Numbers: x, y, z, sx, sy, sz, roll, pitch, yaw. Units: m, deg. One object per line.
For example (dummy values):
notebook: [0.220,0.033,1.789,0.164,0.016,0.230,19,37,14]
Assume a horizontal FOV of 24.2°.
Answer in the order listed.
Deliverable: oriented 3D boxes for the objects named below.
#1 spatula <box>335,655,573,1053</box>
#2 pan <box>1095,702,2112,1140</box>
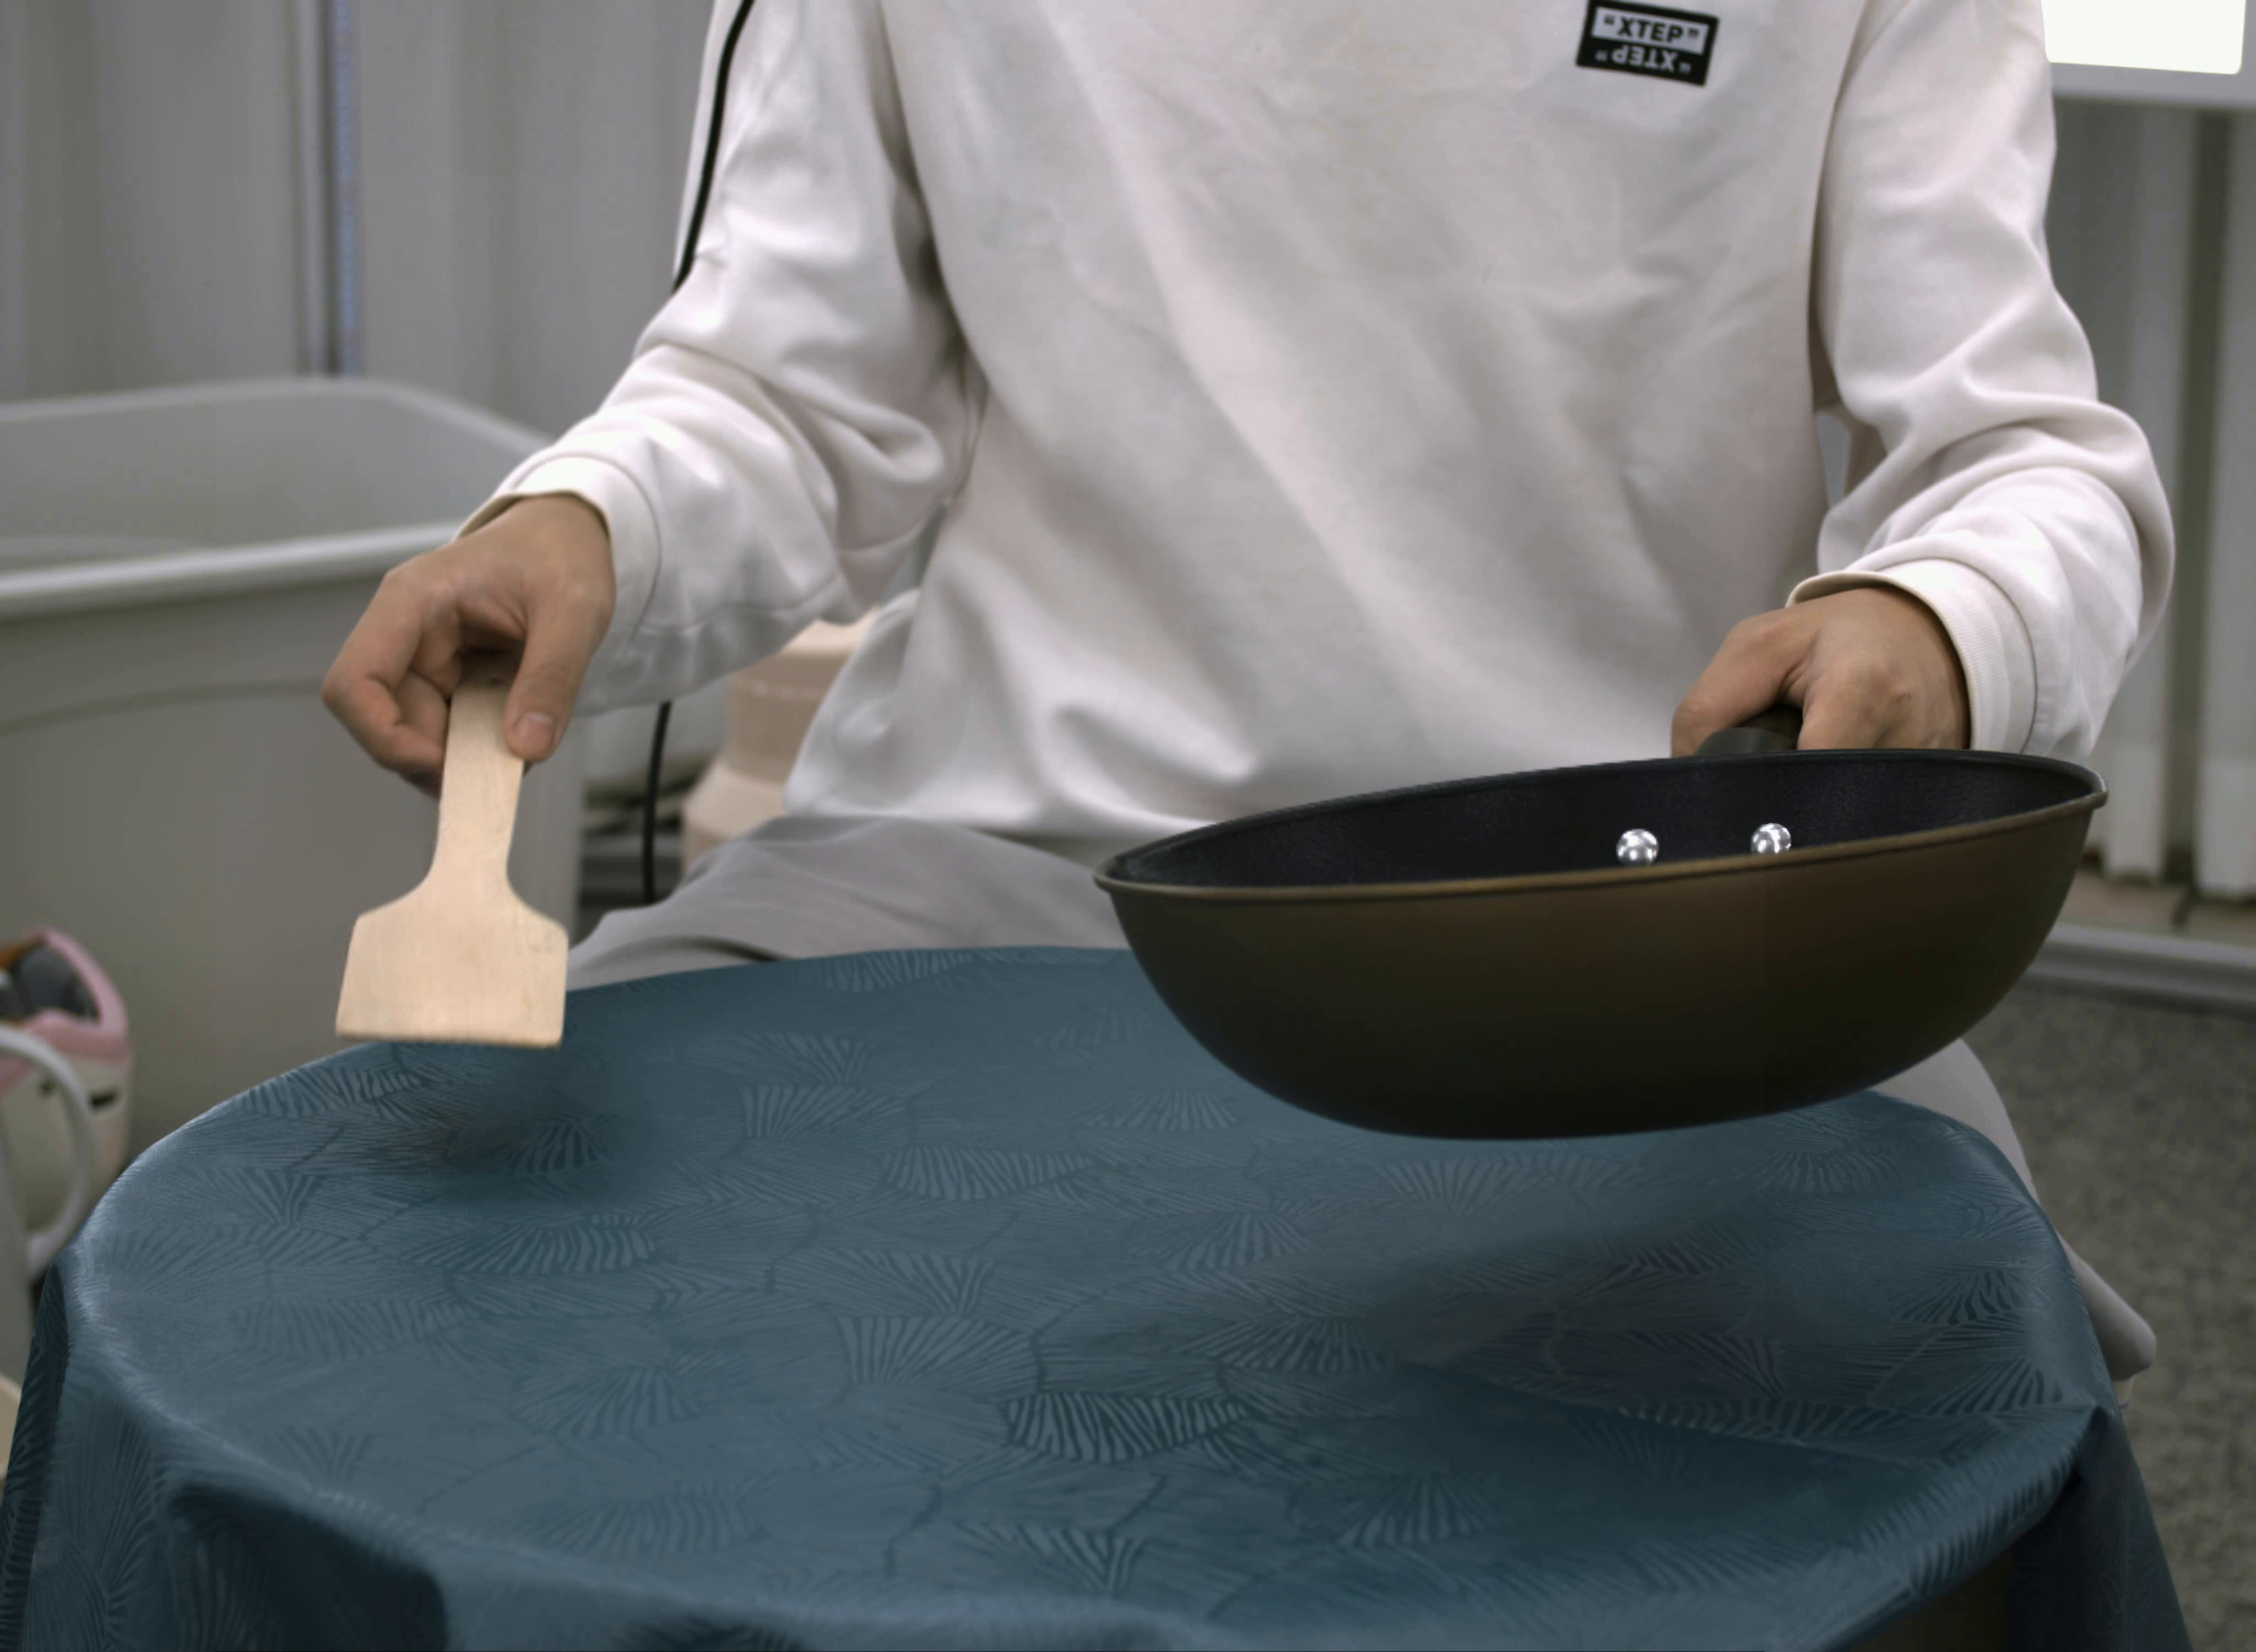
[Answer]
spatula: [-0.217,0.006,1.749,0.072,0.011,0.290,3,26,-5]
pan: [0.164,0.024,1.564,0.285,0.087,0.464,-3,6,19]
